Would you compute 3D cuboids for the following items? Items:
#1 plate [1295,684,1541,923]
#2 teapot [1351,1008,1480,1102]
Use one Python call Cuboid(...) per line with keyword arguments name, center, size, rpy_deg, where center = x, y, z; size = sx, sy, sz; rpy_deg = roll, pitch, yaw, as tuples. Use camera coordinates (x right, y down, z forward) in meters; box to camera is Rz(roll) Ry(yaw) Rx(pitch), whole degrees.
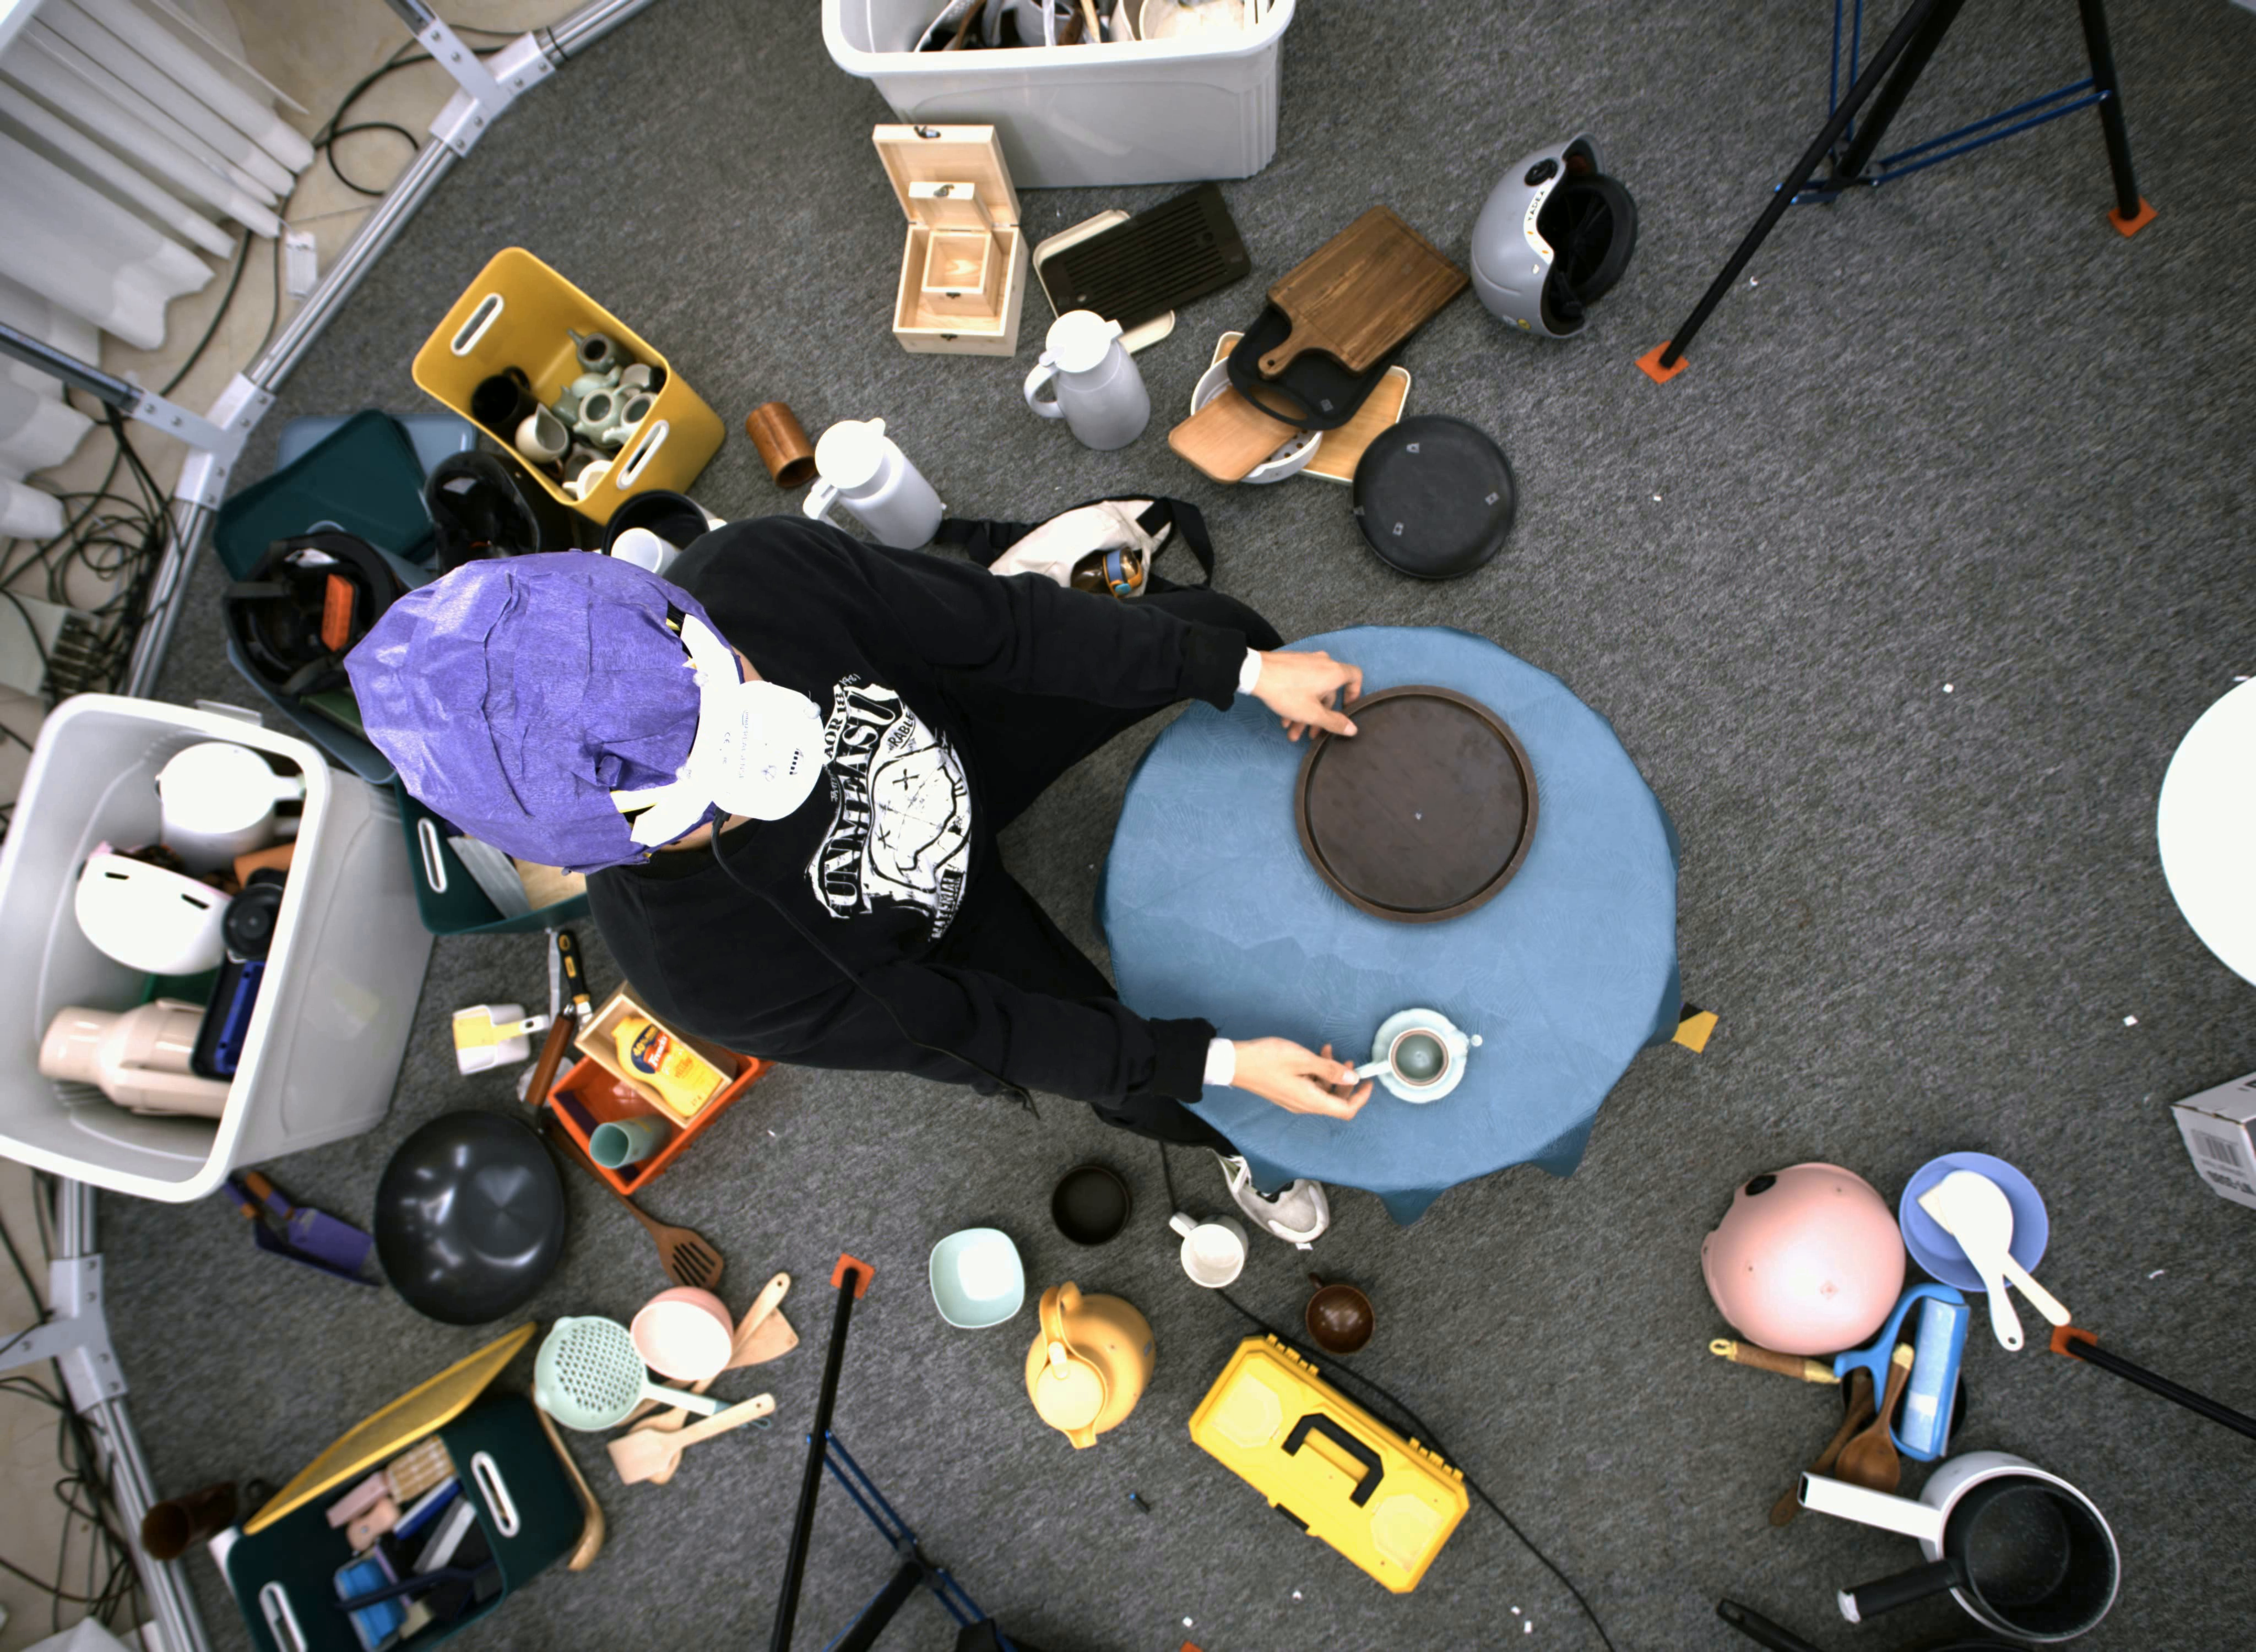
Cuboid(name="plate", center=(0.303, -0.025, 1.447), size=(0.256, 0.029, 0.254), rpy_deg=(-1, 88, 10))
Cuboid(name="teapot", center=(0.294, 0.235, 1.418), size=(0.138, 0.061, 0.095), rpy_deg=(-20, 84, 9))
